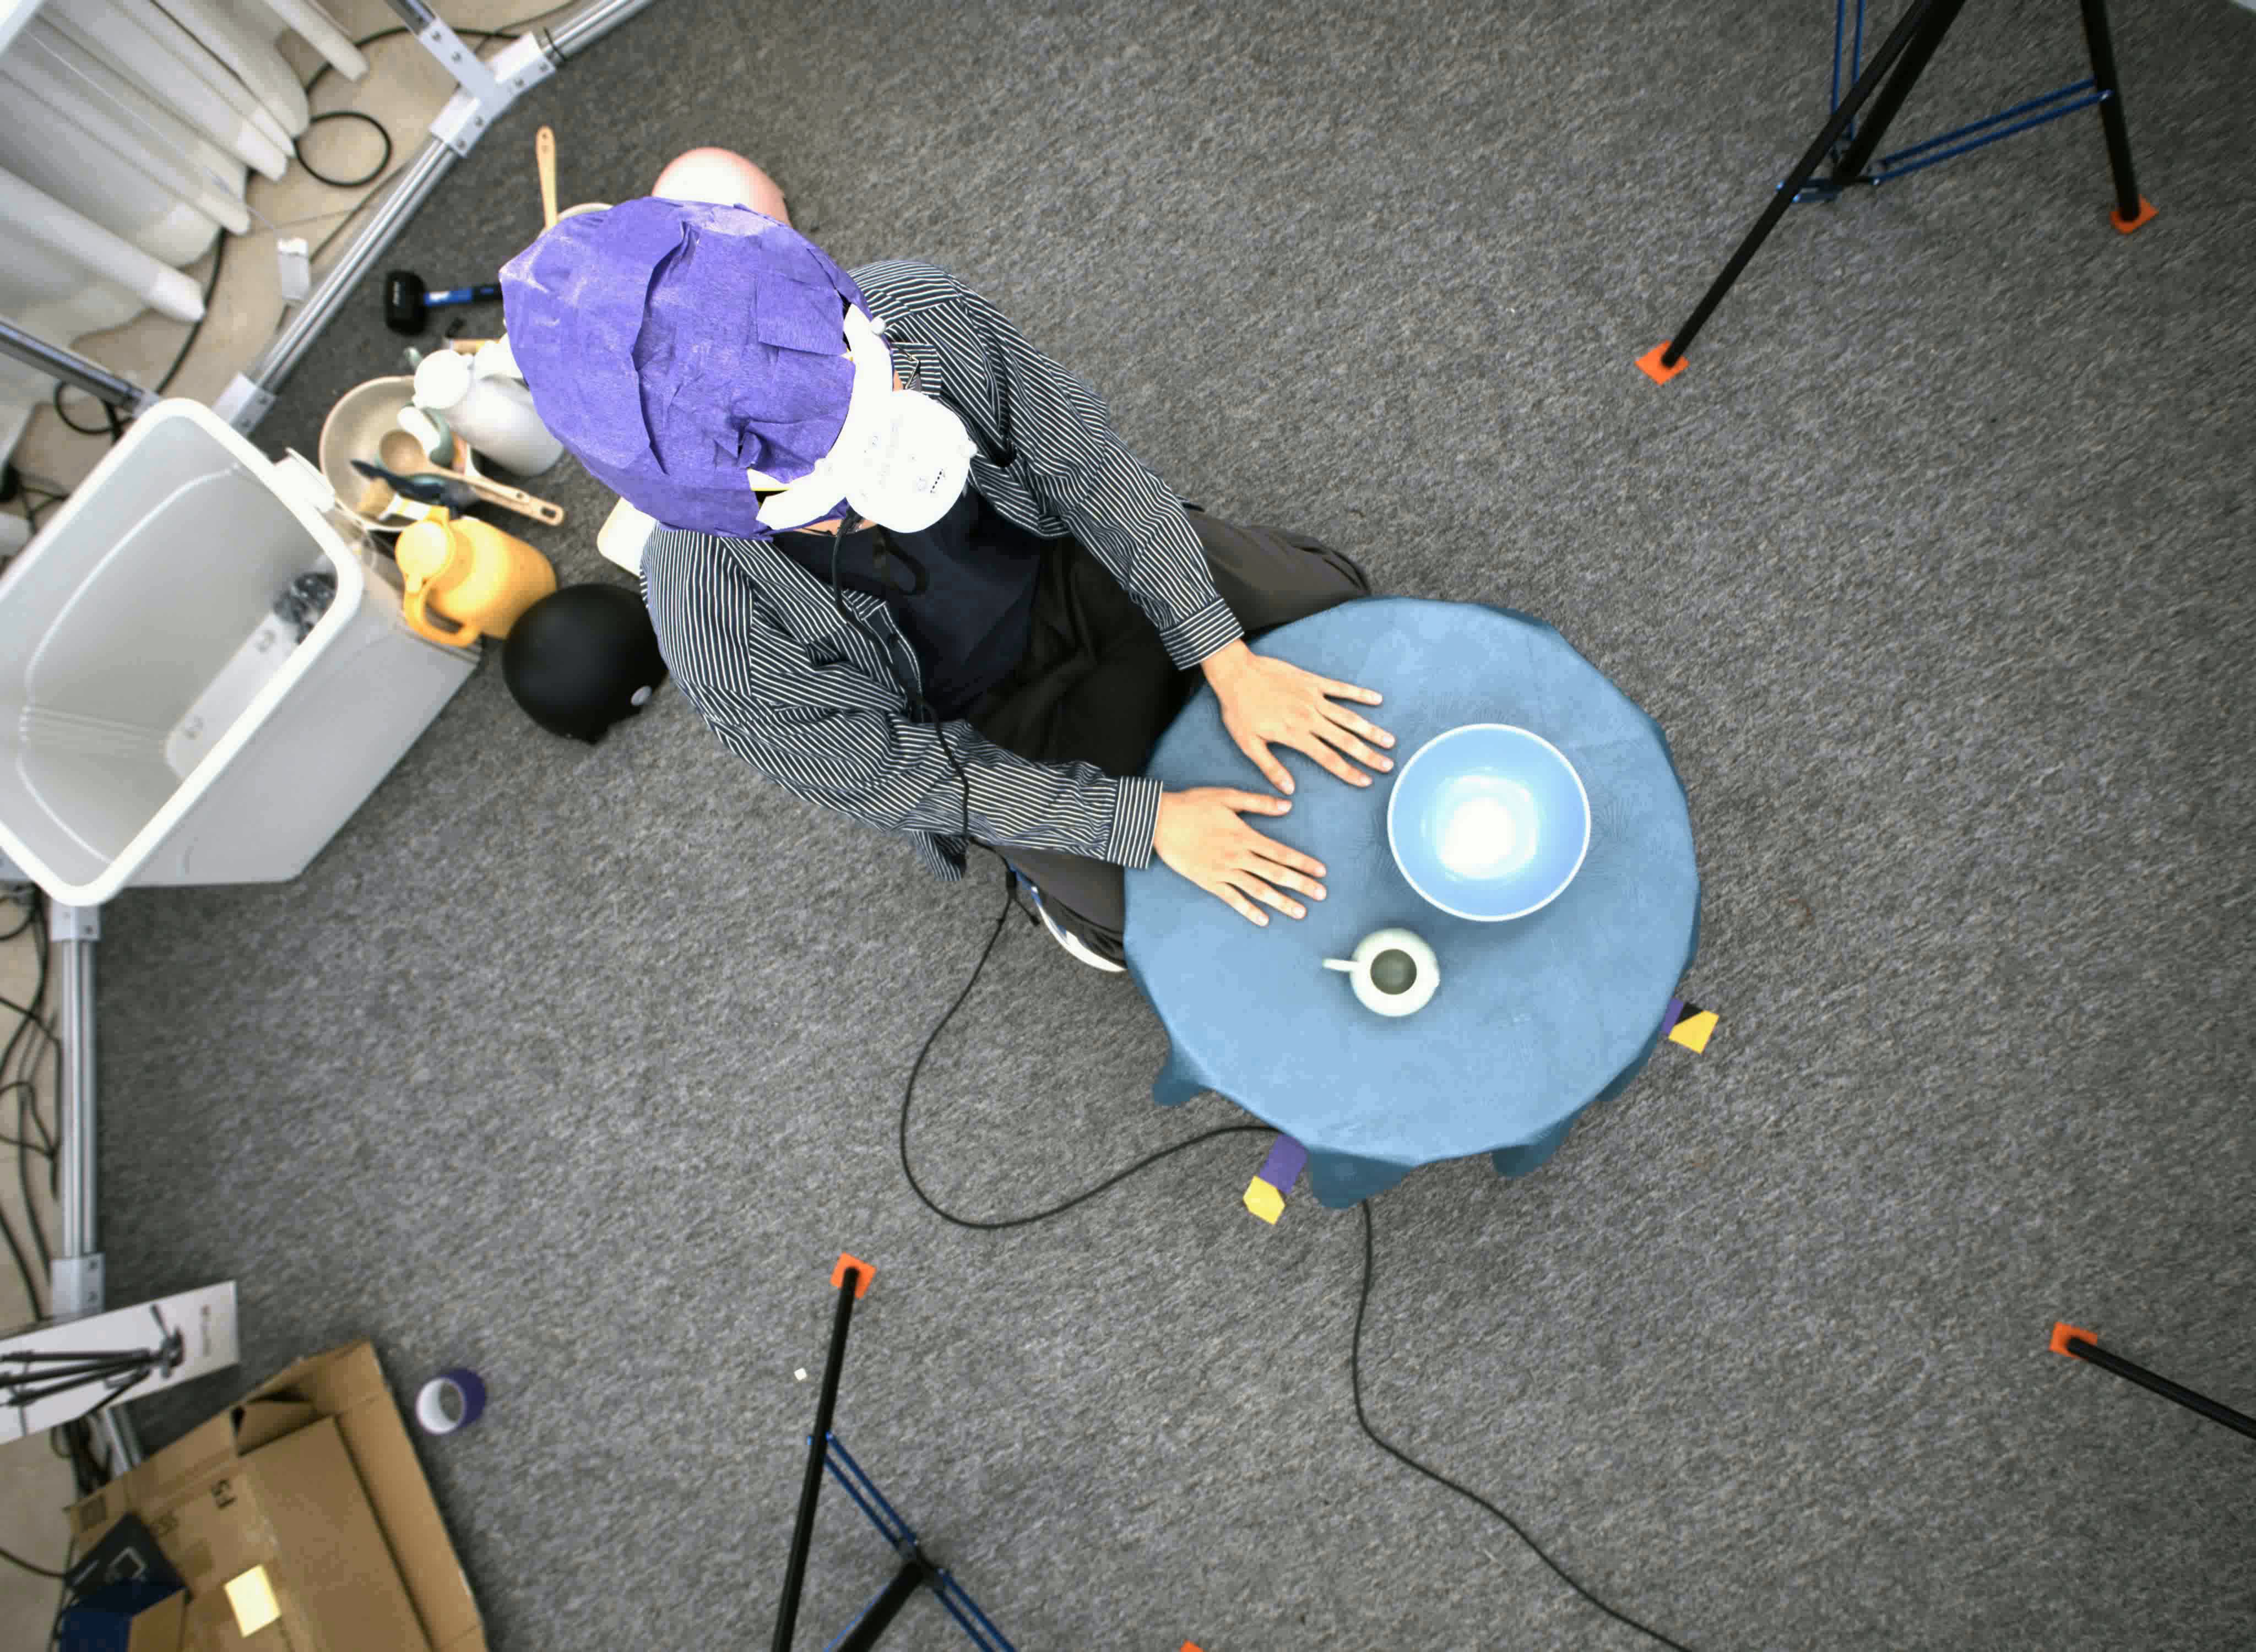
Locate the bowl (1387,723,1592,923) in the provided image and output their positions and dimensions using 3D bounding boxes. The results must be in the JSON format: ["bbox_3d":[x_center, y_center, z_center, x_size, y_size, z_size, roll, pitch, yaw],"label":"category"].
[{"bbox_3d":[0.360,-0.002,1.388,0.197,0.095,0.196,-1,88,10],"label":"bowl"}]

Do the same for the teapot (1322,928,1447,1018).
[{"bbox_3d":[0.262,0.147,1.417,0.129,0.061,0.091,11,91,11],"label":"teapot"}]
